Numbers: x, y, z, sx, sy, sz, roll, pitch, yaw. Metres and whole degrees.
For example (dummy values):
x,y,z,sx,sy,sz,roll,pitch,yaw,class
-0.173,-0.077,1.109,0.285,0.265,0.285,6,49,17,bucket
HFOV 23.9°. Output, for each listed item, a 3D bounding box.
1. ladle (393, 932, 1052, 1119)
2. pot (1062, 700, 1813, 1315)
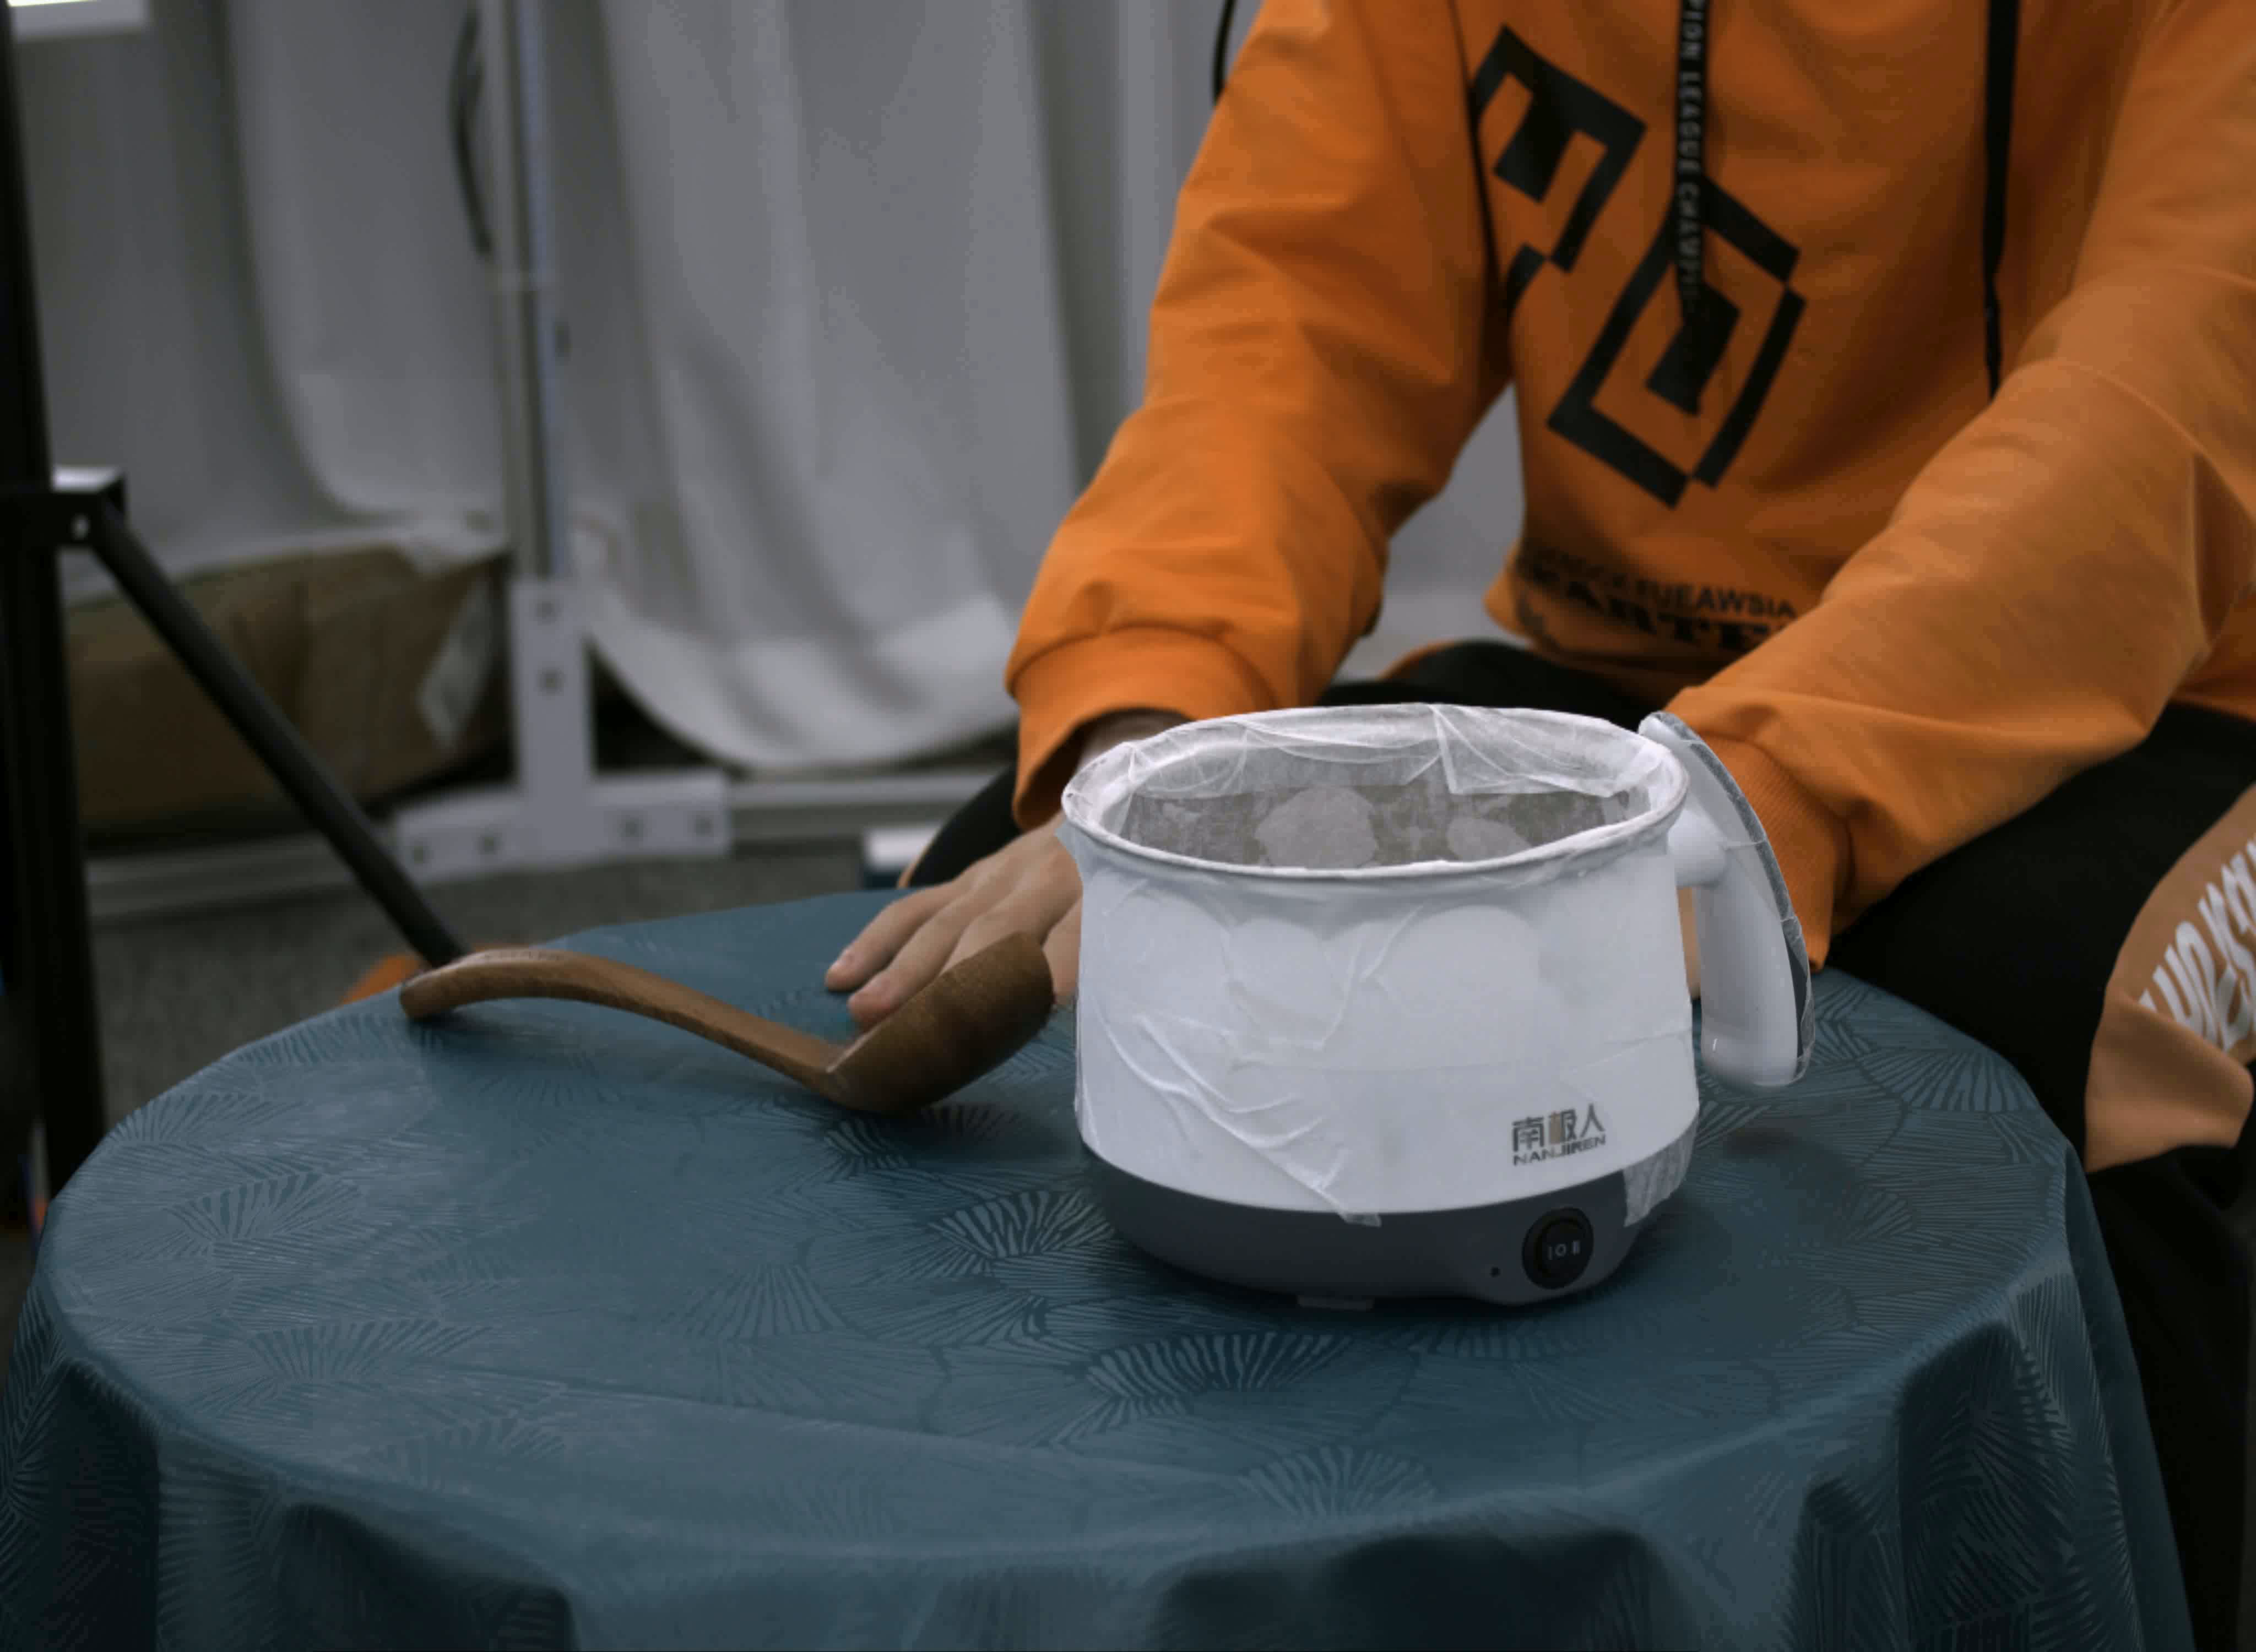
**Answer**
x,y,z,sx,sy,sz,roll,pitch,yaw,class
-0.135,0.048,1.676,0.266,0.065,0.075,10,17,37,ladle
0.095,0.044,1.514,0.228,0.136,0.182,-12,18,-29,pot
